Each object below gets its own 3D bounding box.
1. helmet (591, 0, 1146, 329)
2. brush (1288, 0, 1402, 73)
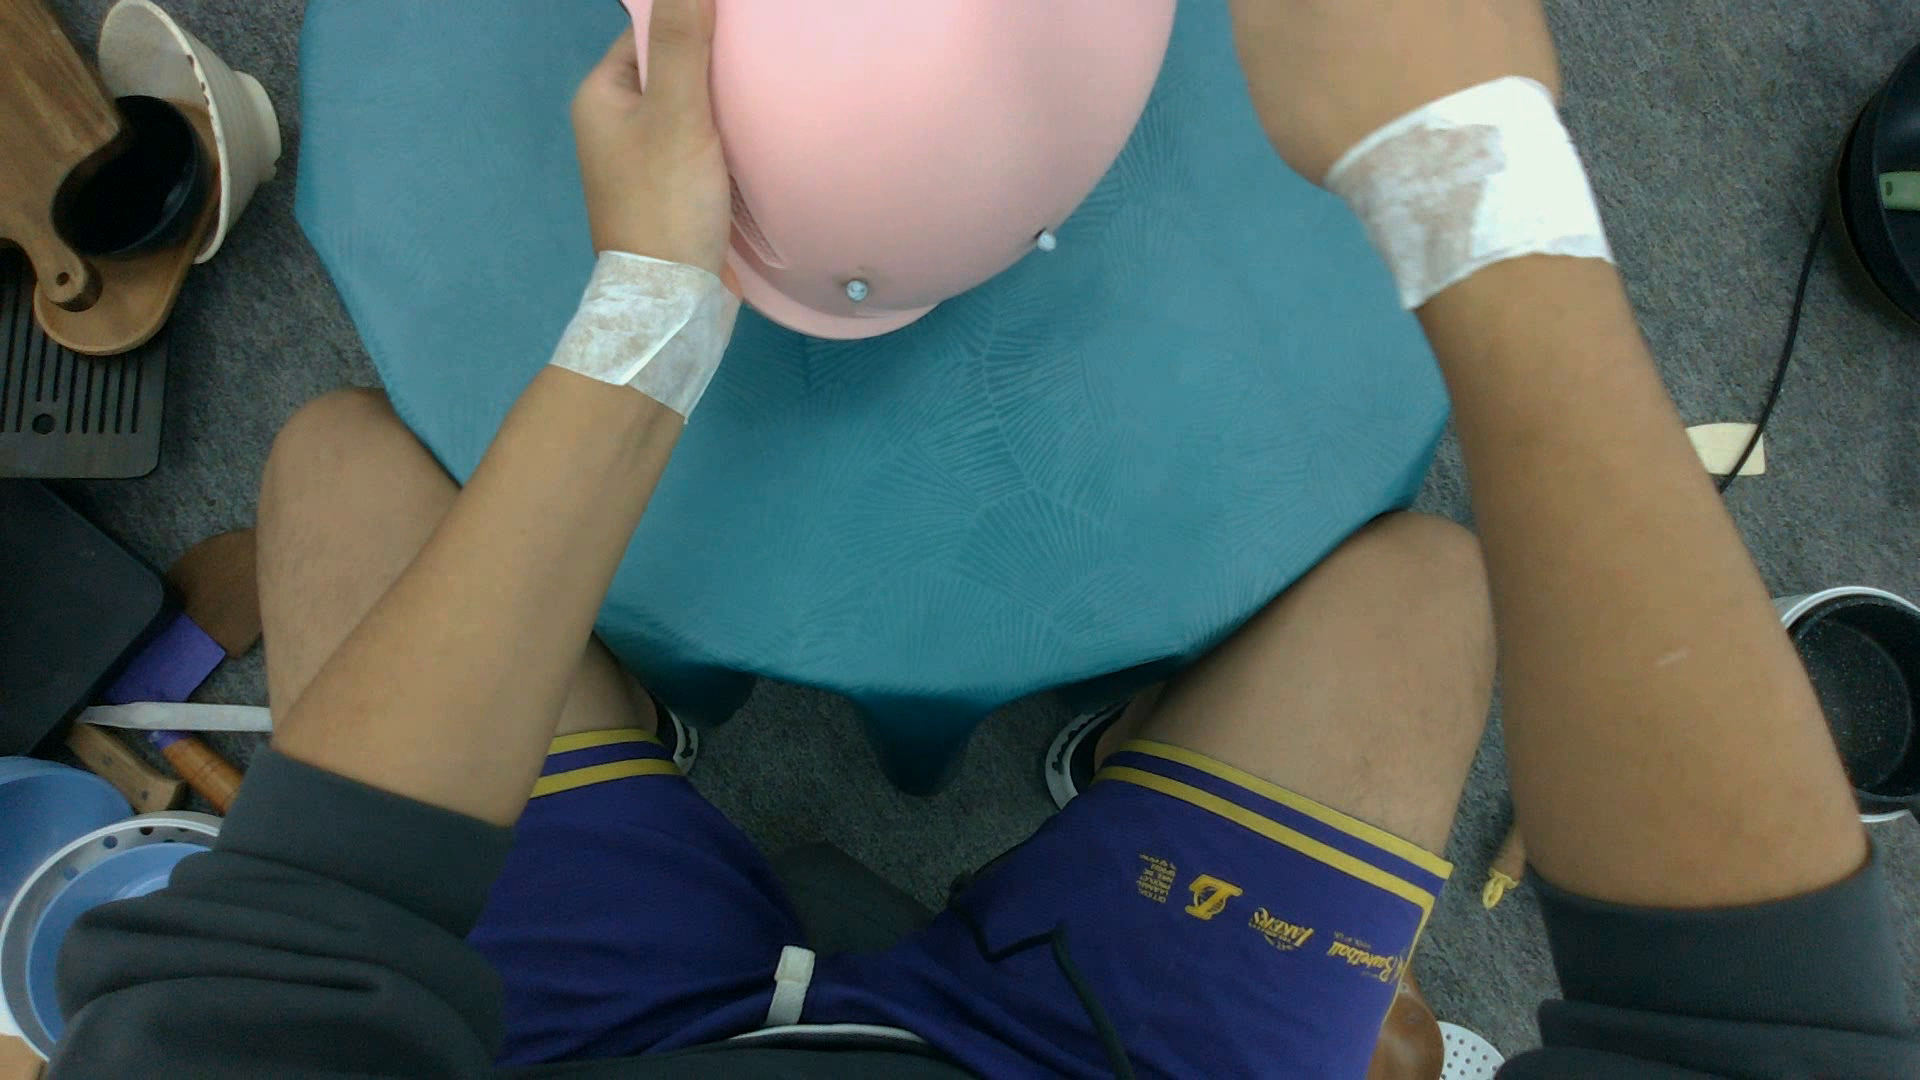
[{"bbox_3d":[-0.016,-0.222,0.550,0.234,0.158,0.266,22,74,-48],"label":"helmet"},{"bbox_3d":[0.051,-0.224,0.430,0.034,0.050,0.244,-29,75,-17],"label":"brush"}]
